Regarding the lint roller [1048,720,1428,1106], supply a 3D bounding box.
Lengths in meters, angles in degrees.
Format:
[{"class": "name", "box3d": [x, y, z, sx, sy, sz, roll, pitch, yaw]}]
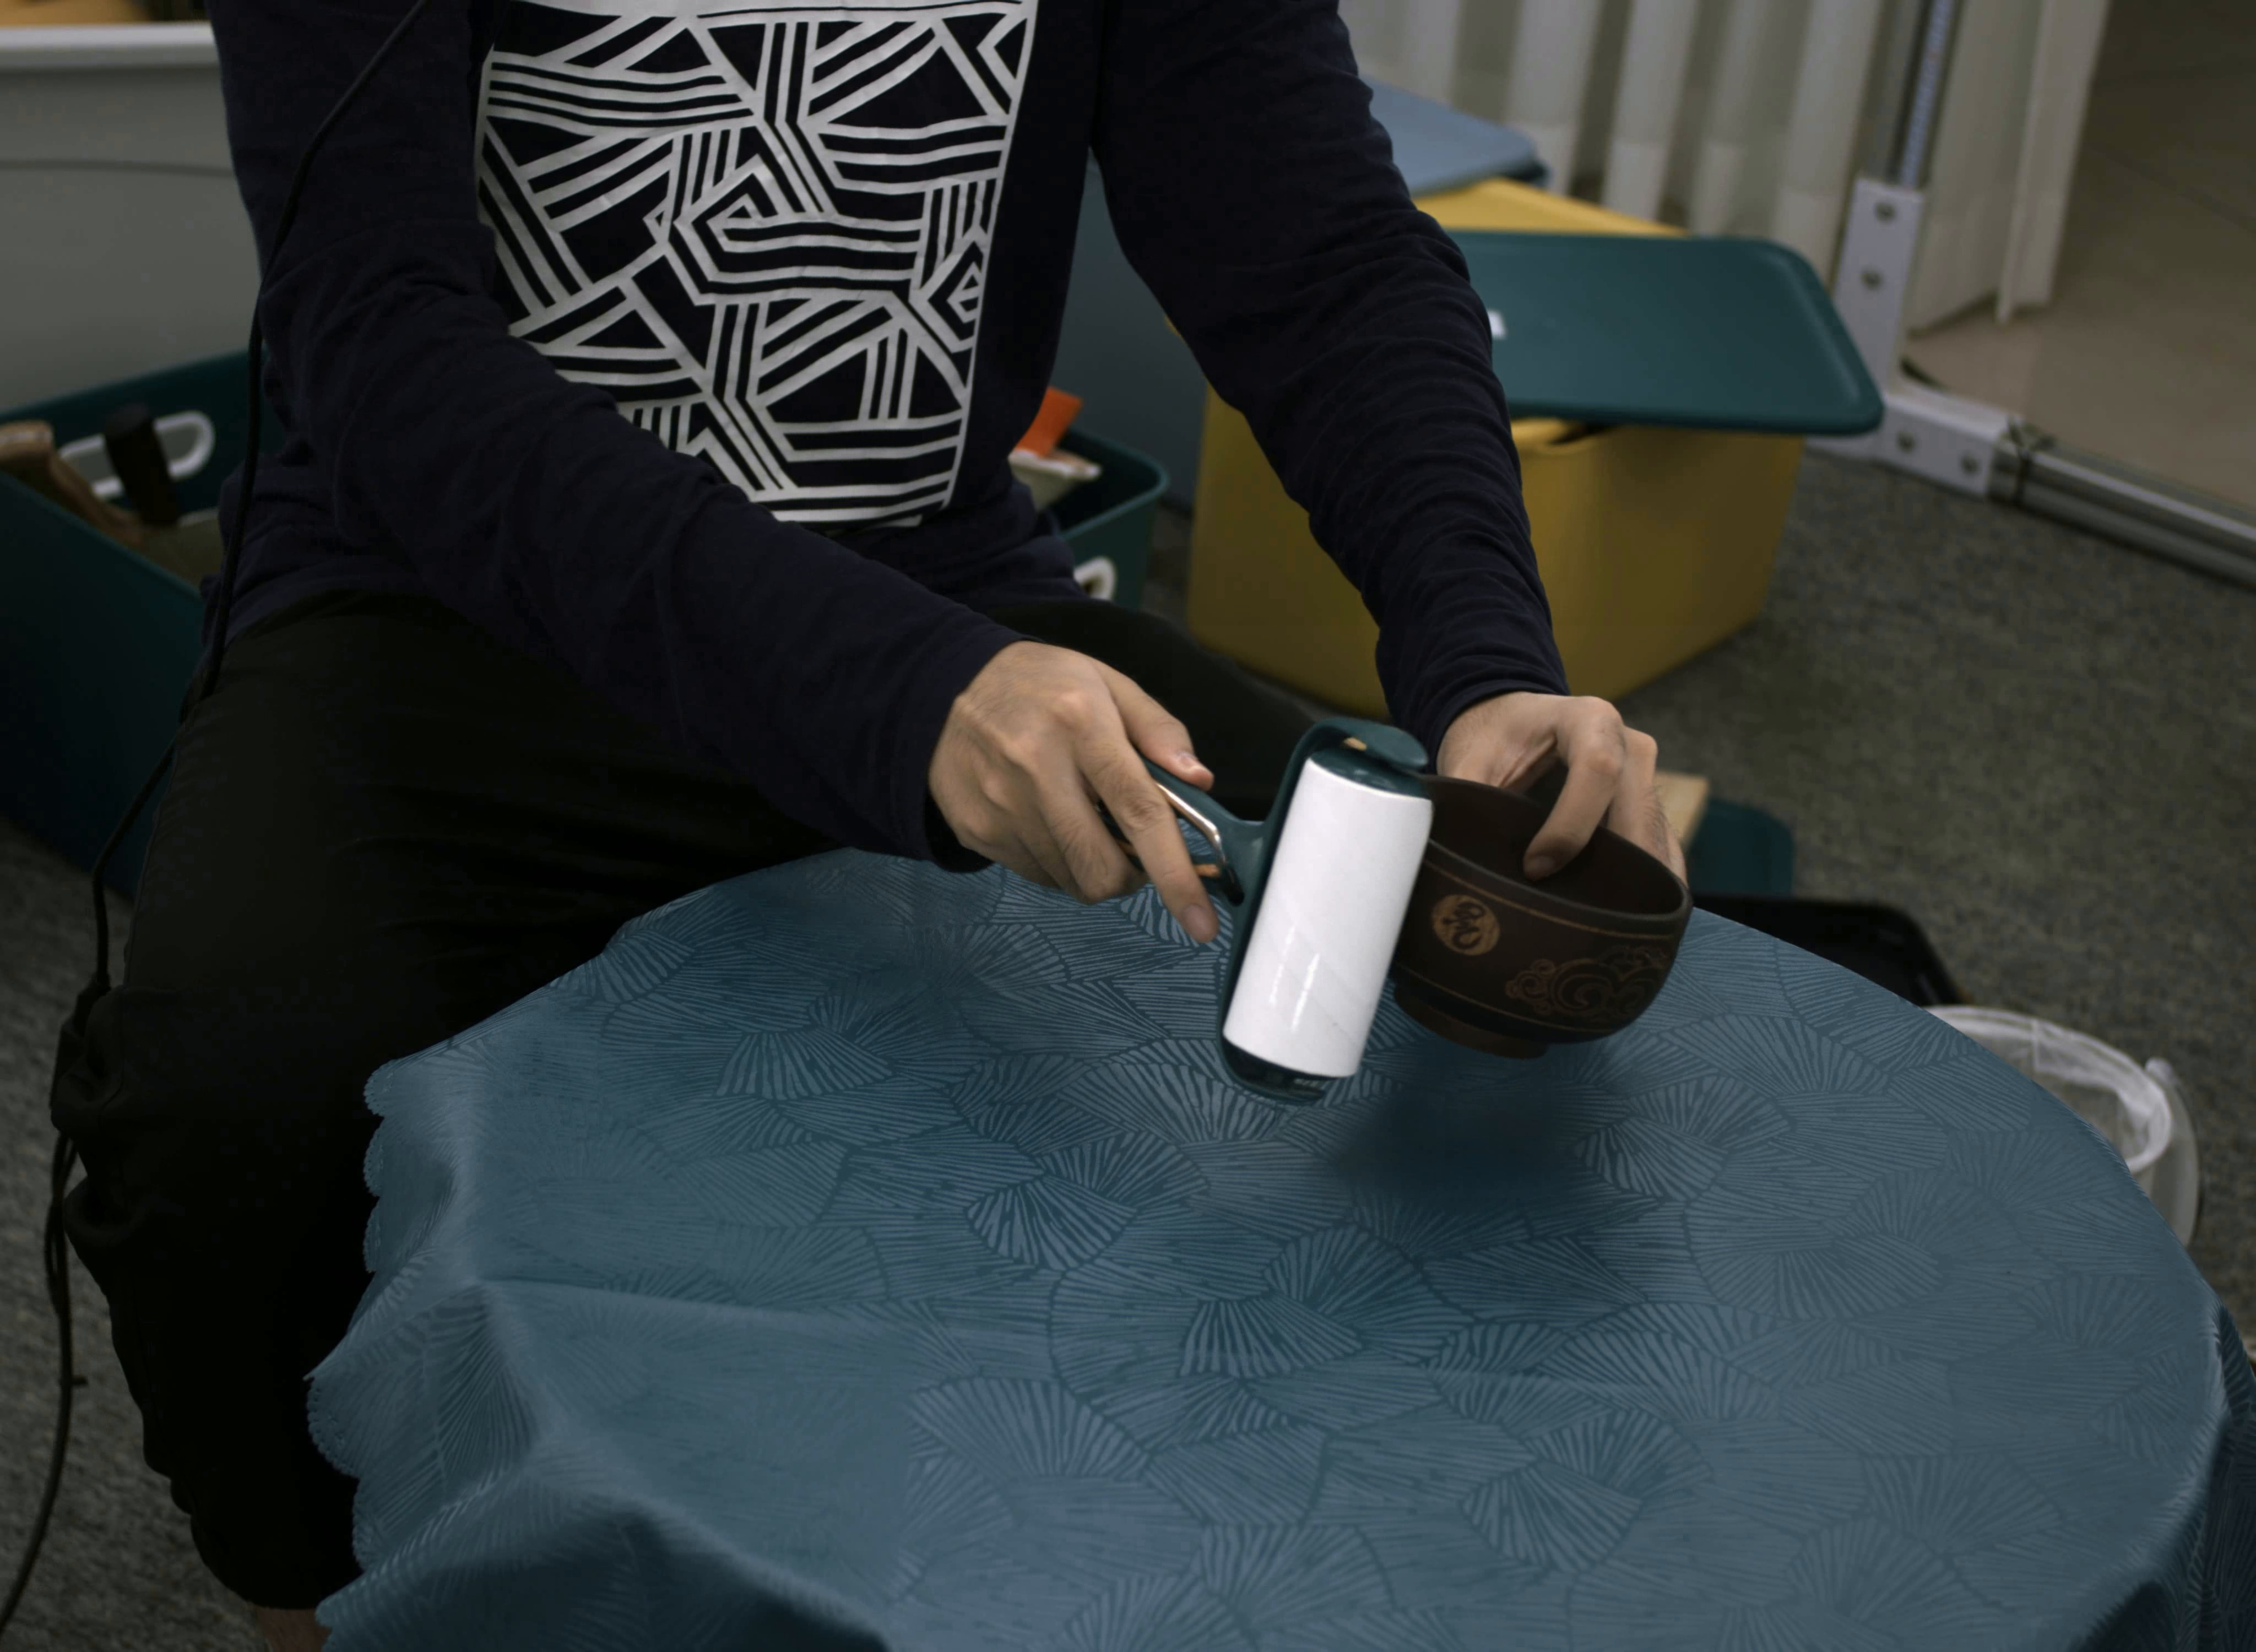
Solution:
[{"class": "lint roller", "box3d": [0.020, 0.008, 1.826, 0.048, 0.134, 0.181, 3, 17, -46]}]

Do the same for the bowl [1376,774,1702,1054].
[{"class": "bowl", "box3d": [0.132, 0.036, 1.827, 0.117, 0.070, 0.118, 16, 15, -5]}]
